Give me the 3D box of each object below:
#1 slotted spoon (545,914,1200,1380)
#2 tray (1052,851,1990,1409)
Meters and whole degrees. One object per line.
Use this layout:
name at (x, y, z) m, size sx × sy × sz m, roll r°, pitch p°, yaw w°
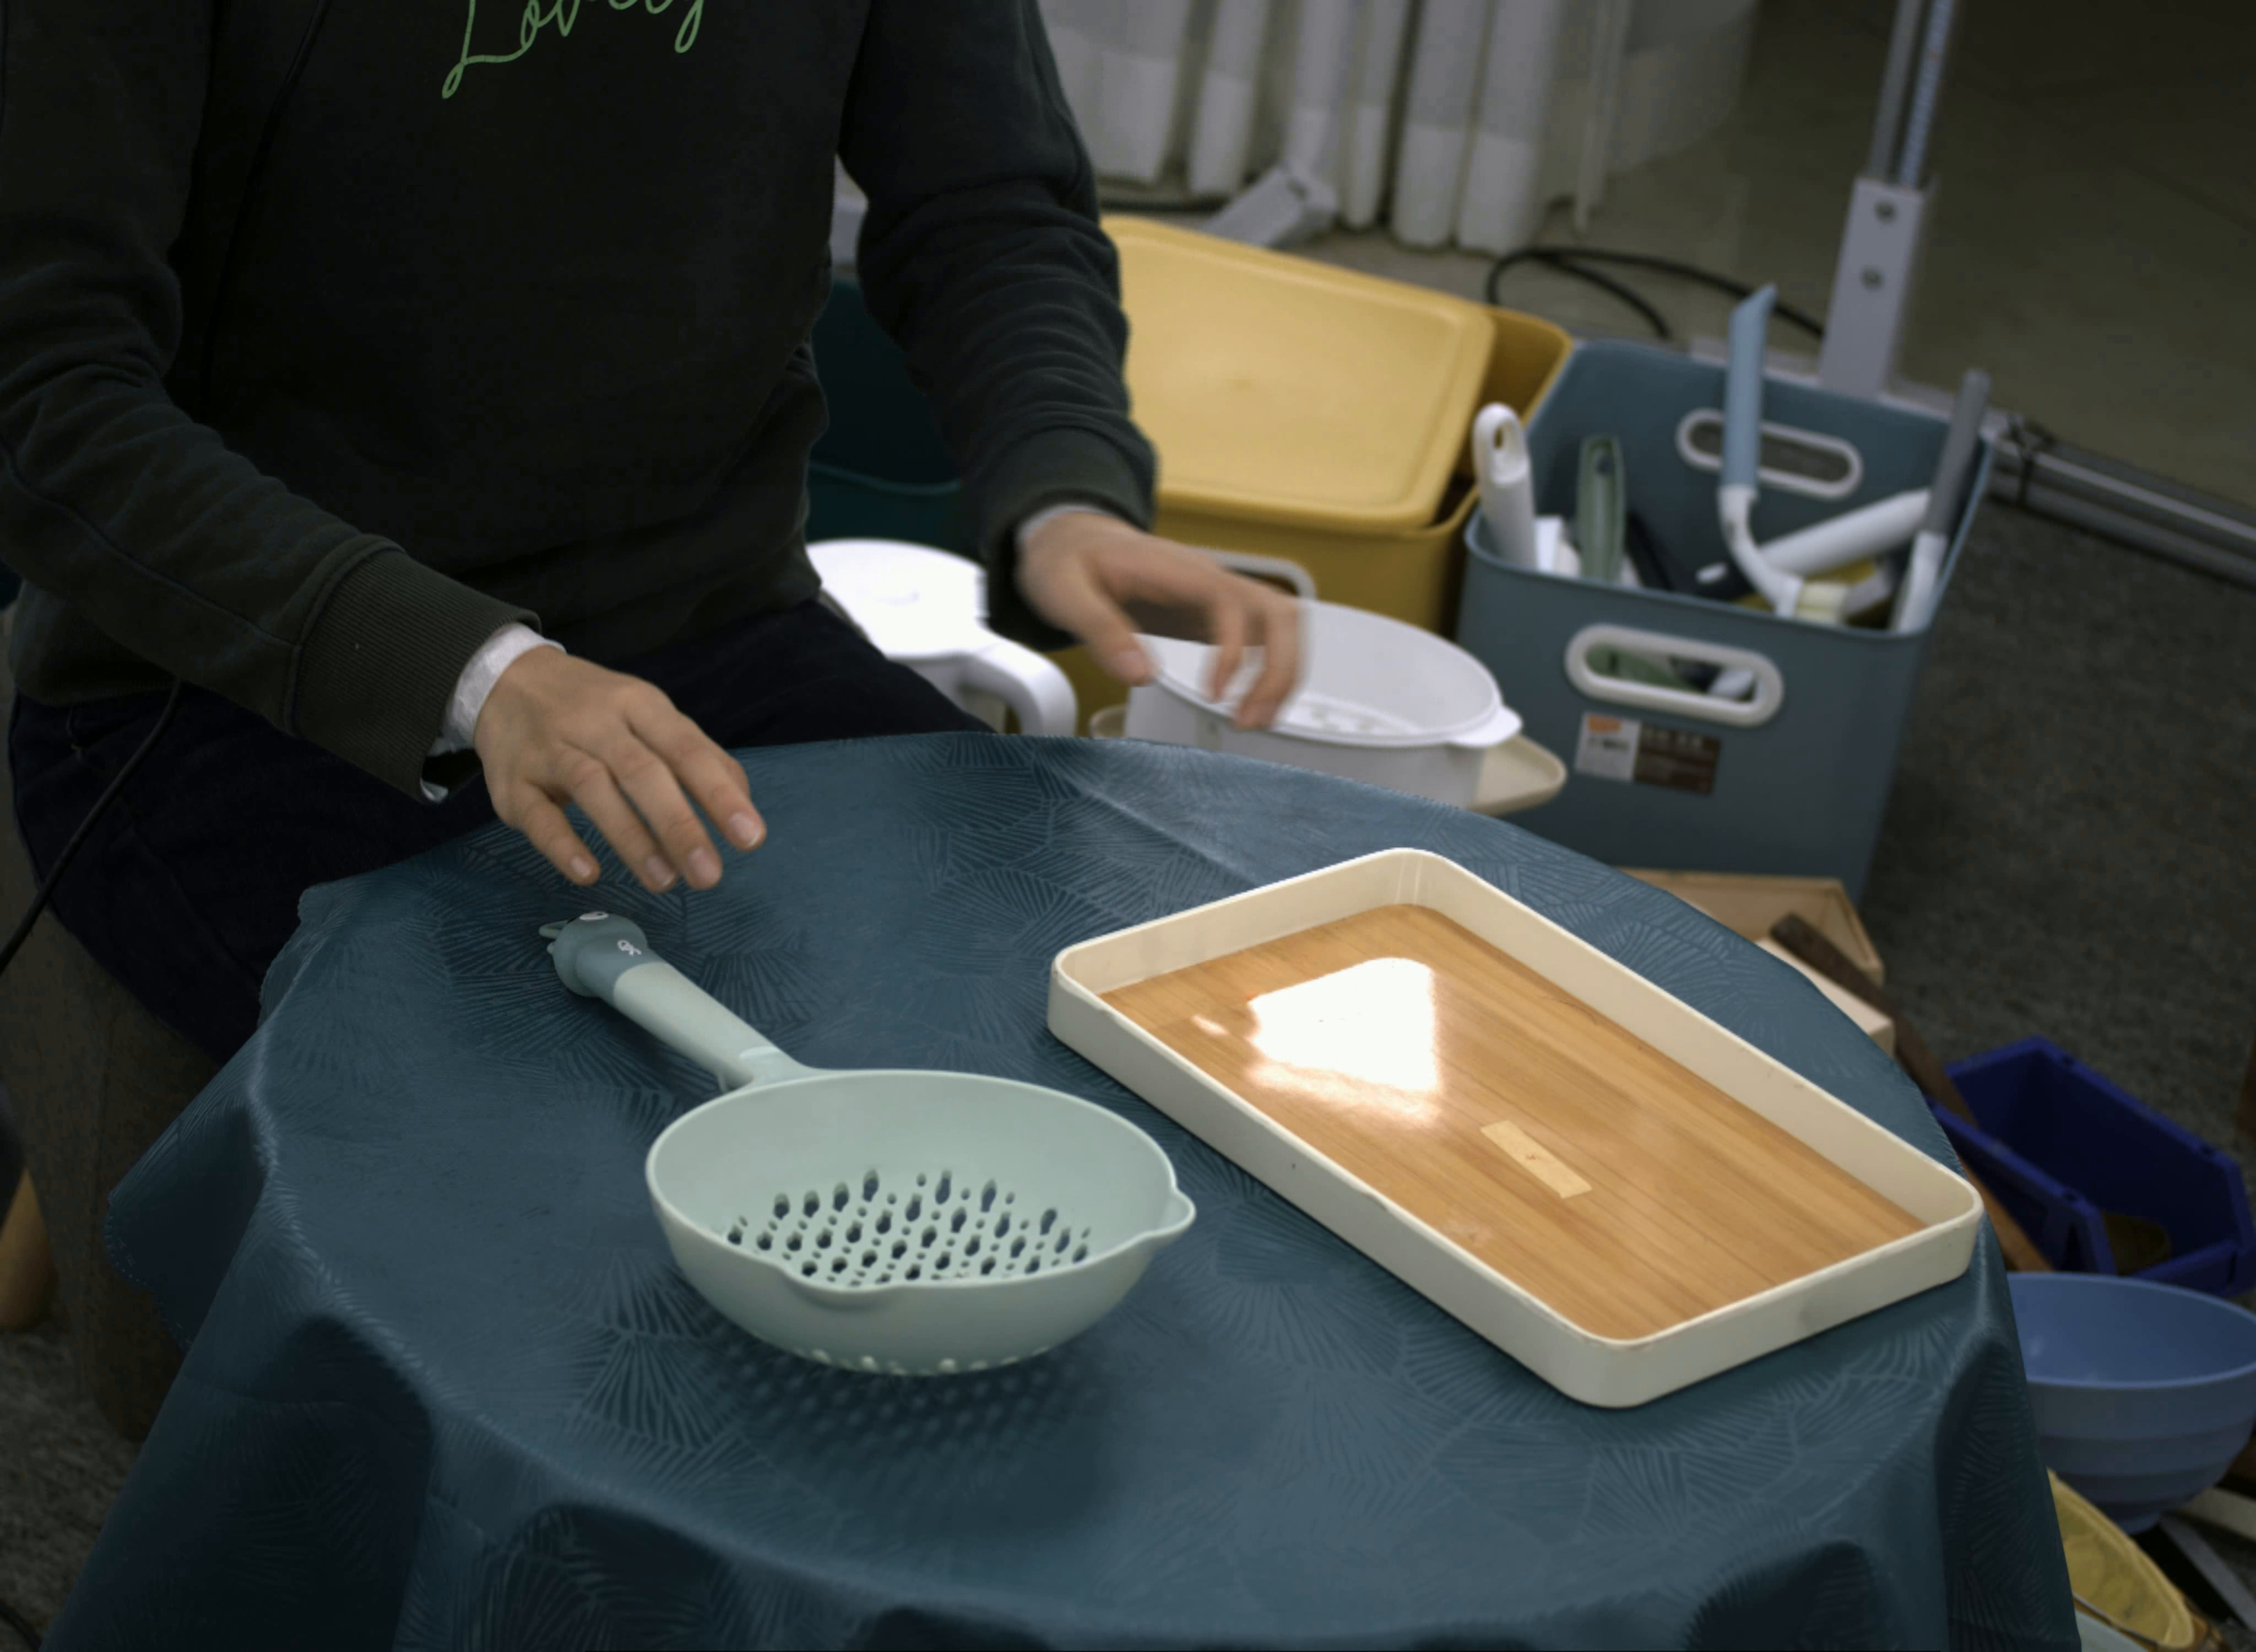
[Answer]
slotted spoon at (-0.117, 0.091, 1.768) m, size 0.168 × 0.075 × 0.362 m, roll -8°, pitch 30°, yaw -28°
tray at (0.132, 0.100, 1.849) m, size 0.190 × 0.027 × 0.303 m, roll -15°, pitch 34°, yaw -37°
